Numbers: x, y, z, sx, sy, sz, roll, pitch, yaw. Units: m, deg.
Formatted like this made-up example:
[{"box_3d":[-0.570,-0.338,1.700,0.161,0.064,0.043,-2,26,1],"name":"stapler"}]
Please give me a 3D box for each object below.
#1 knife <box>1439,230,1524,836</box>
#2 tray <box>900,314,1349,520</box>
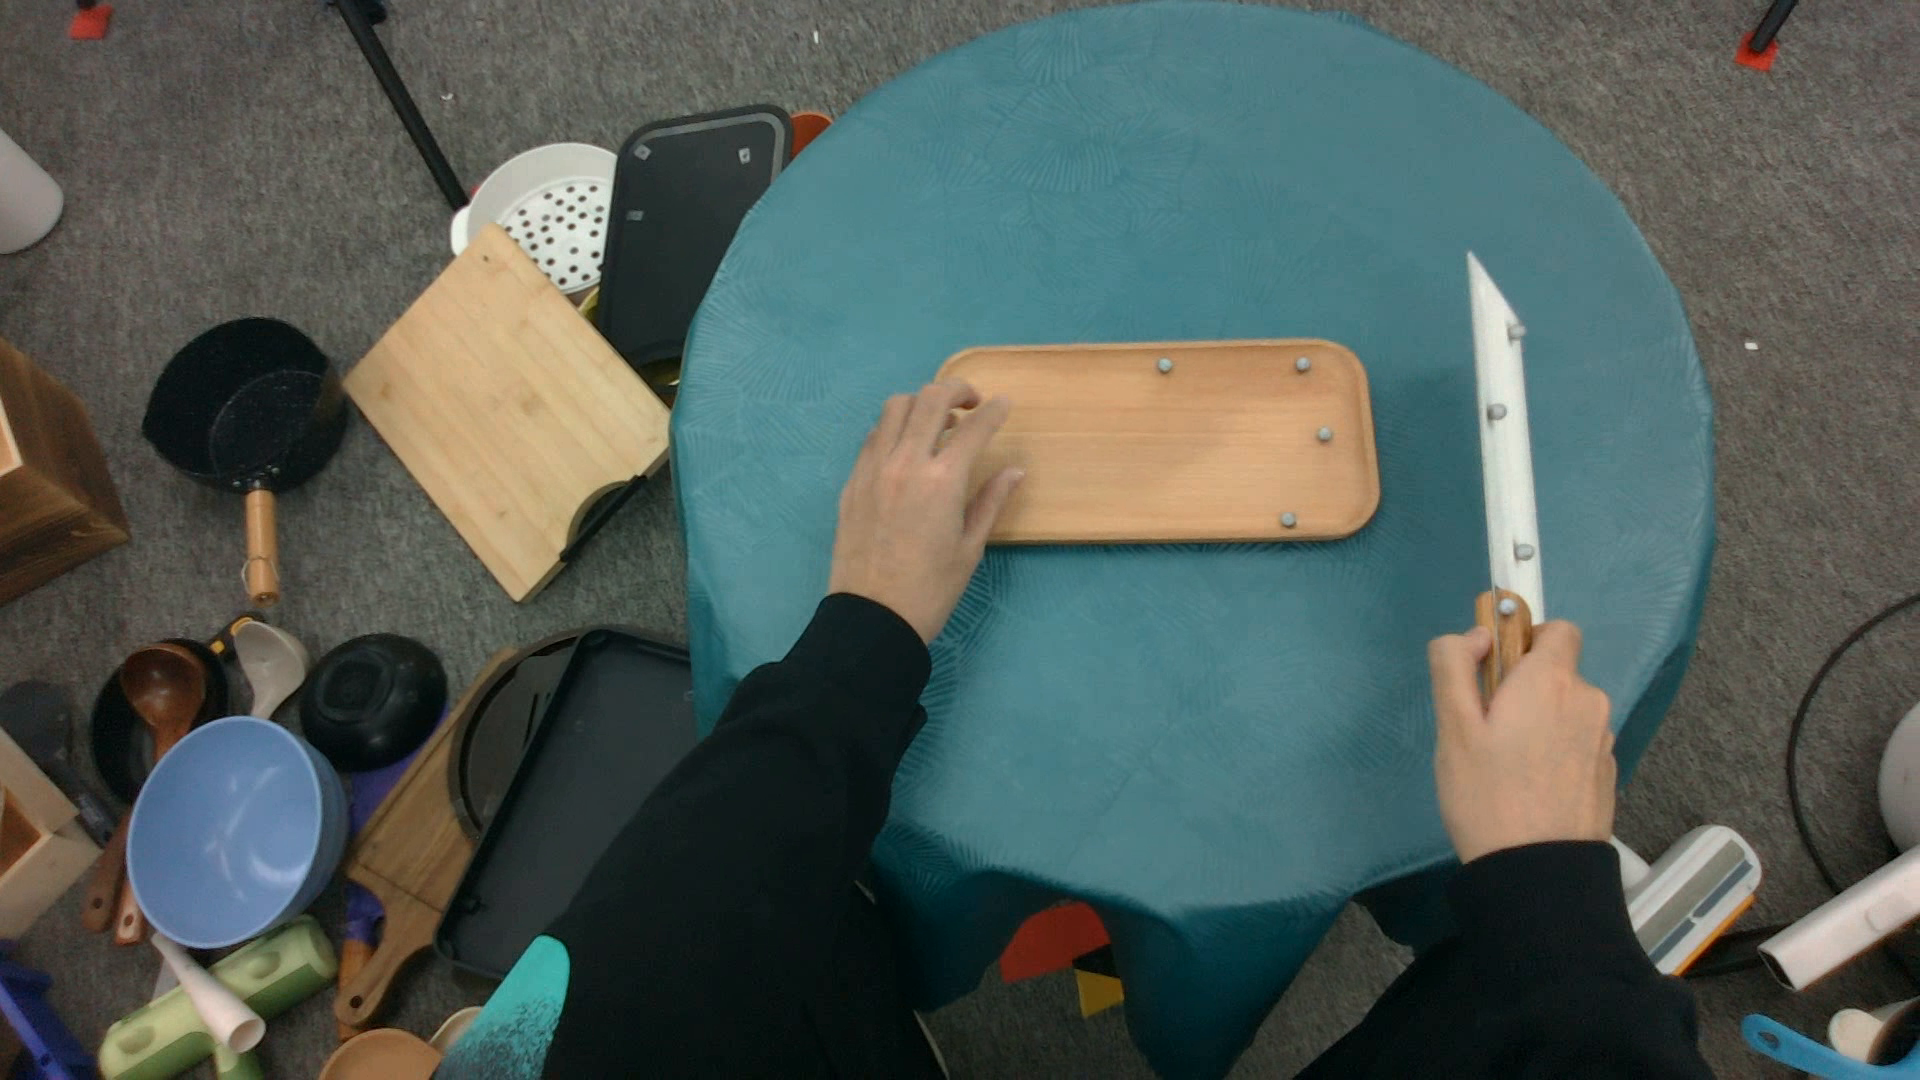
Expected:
[{"box_3d":[0.261,-0.005,0.686,0.021,0.093,0.306,-9,69,33],"name":"knife"},{"box_3d":[0.092,-0.070,0.788,0.250,0.023,0.131,0,64,3],"name":"tray"}]
